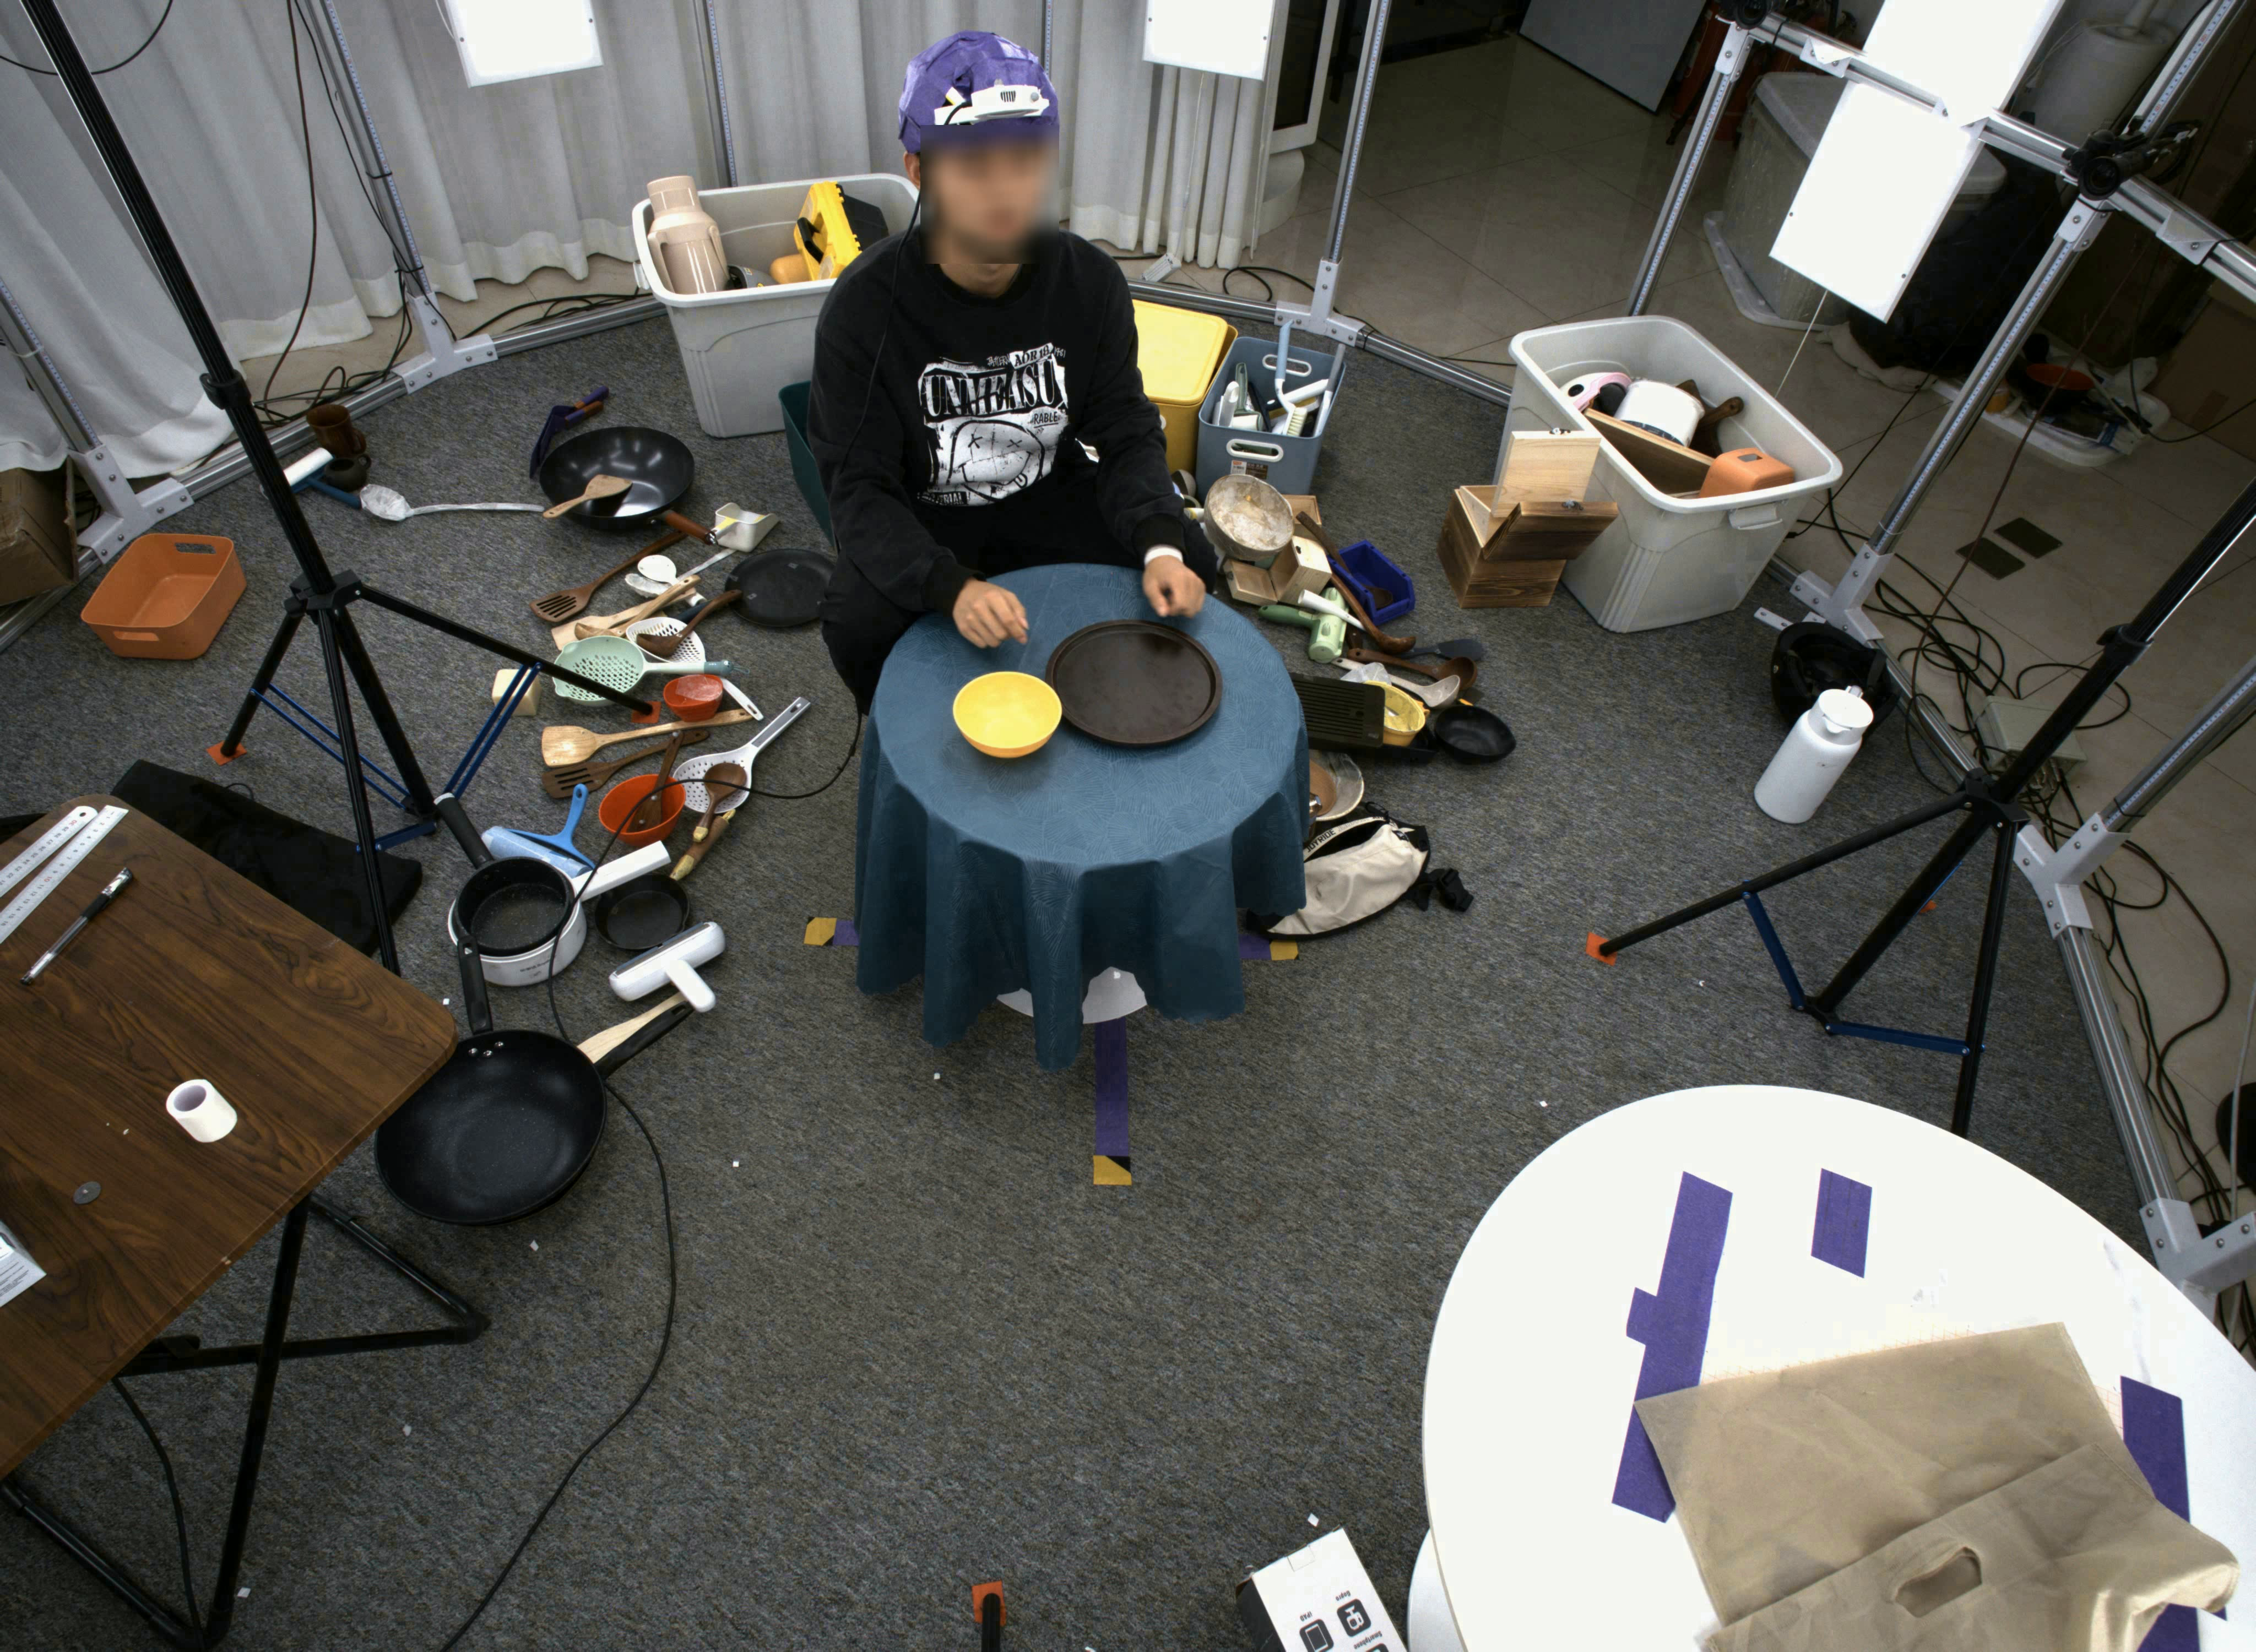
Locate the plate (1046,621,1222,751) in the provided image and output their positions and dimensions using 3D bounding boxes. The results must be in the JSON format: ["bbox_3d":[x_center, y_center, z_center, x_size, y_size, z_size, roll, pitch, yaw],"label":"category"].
[{"bbox_3d":[0.009,-0.203,1.848,0.254,0.028,0.261,1,49,-1],"label":"plate"}]

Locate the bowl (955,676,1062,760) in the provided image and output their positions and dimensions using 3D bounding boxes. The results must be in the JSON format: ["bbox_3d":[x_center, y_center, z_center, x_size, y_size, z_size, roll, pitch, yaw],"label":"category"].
[{"bbox_3d":[-0.164,-0.136,1.756,0.145,0.058,0.149,2,46,-3],"label":"bowl"}]
